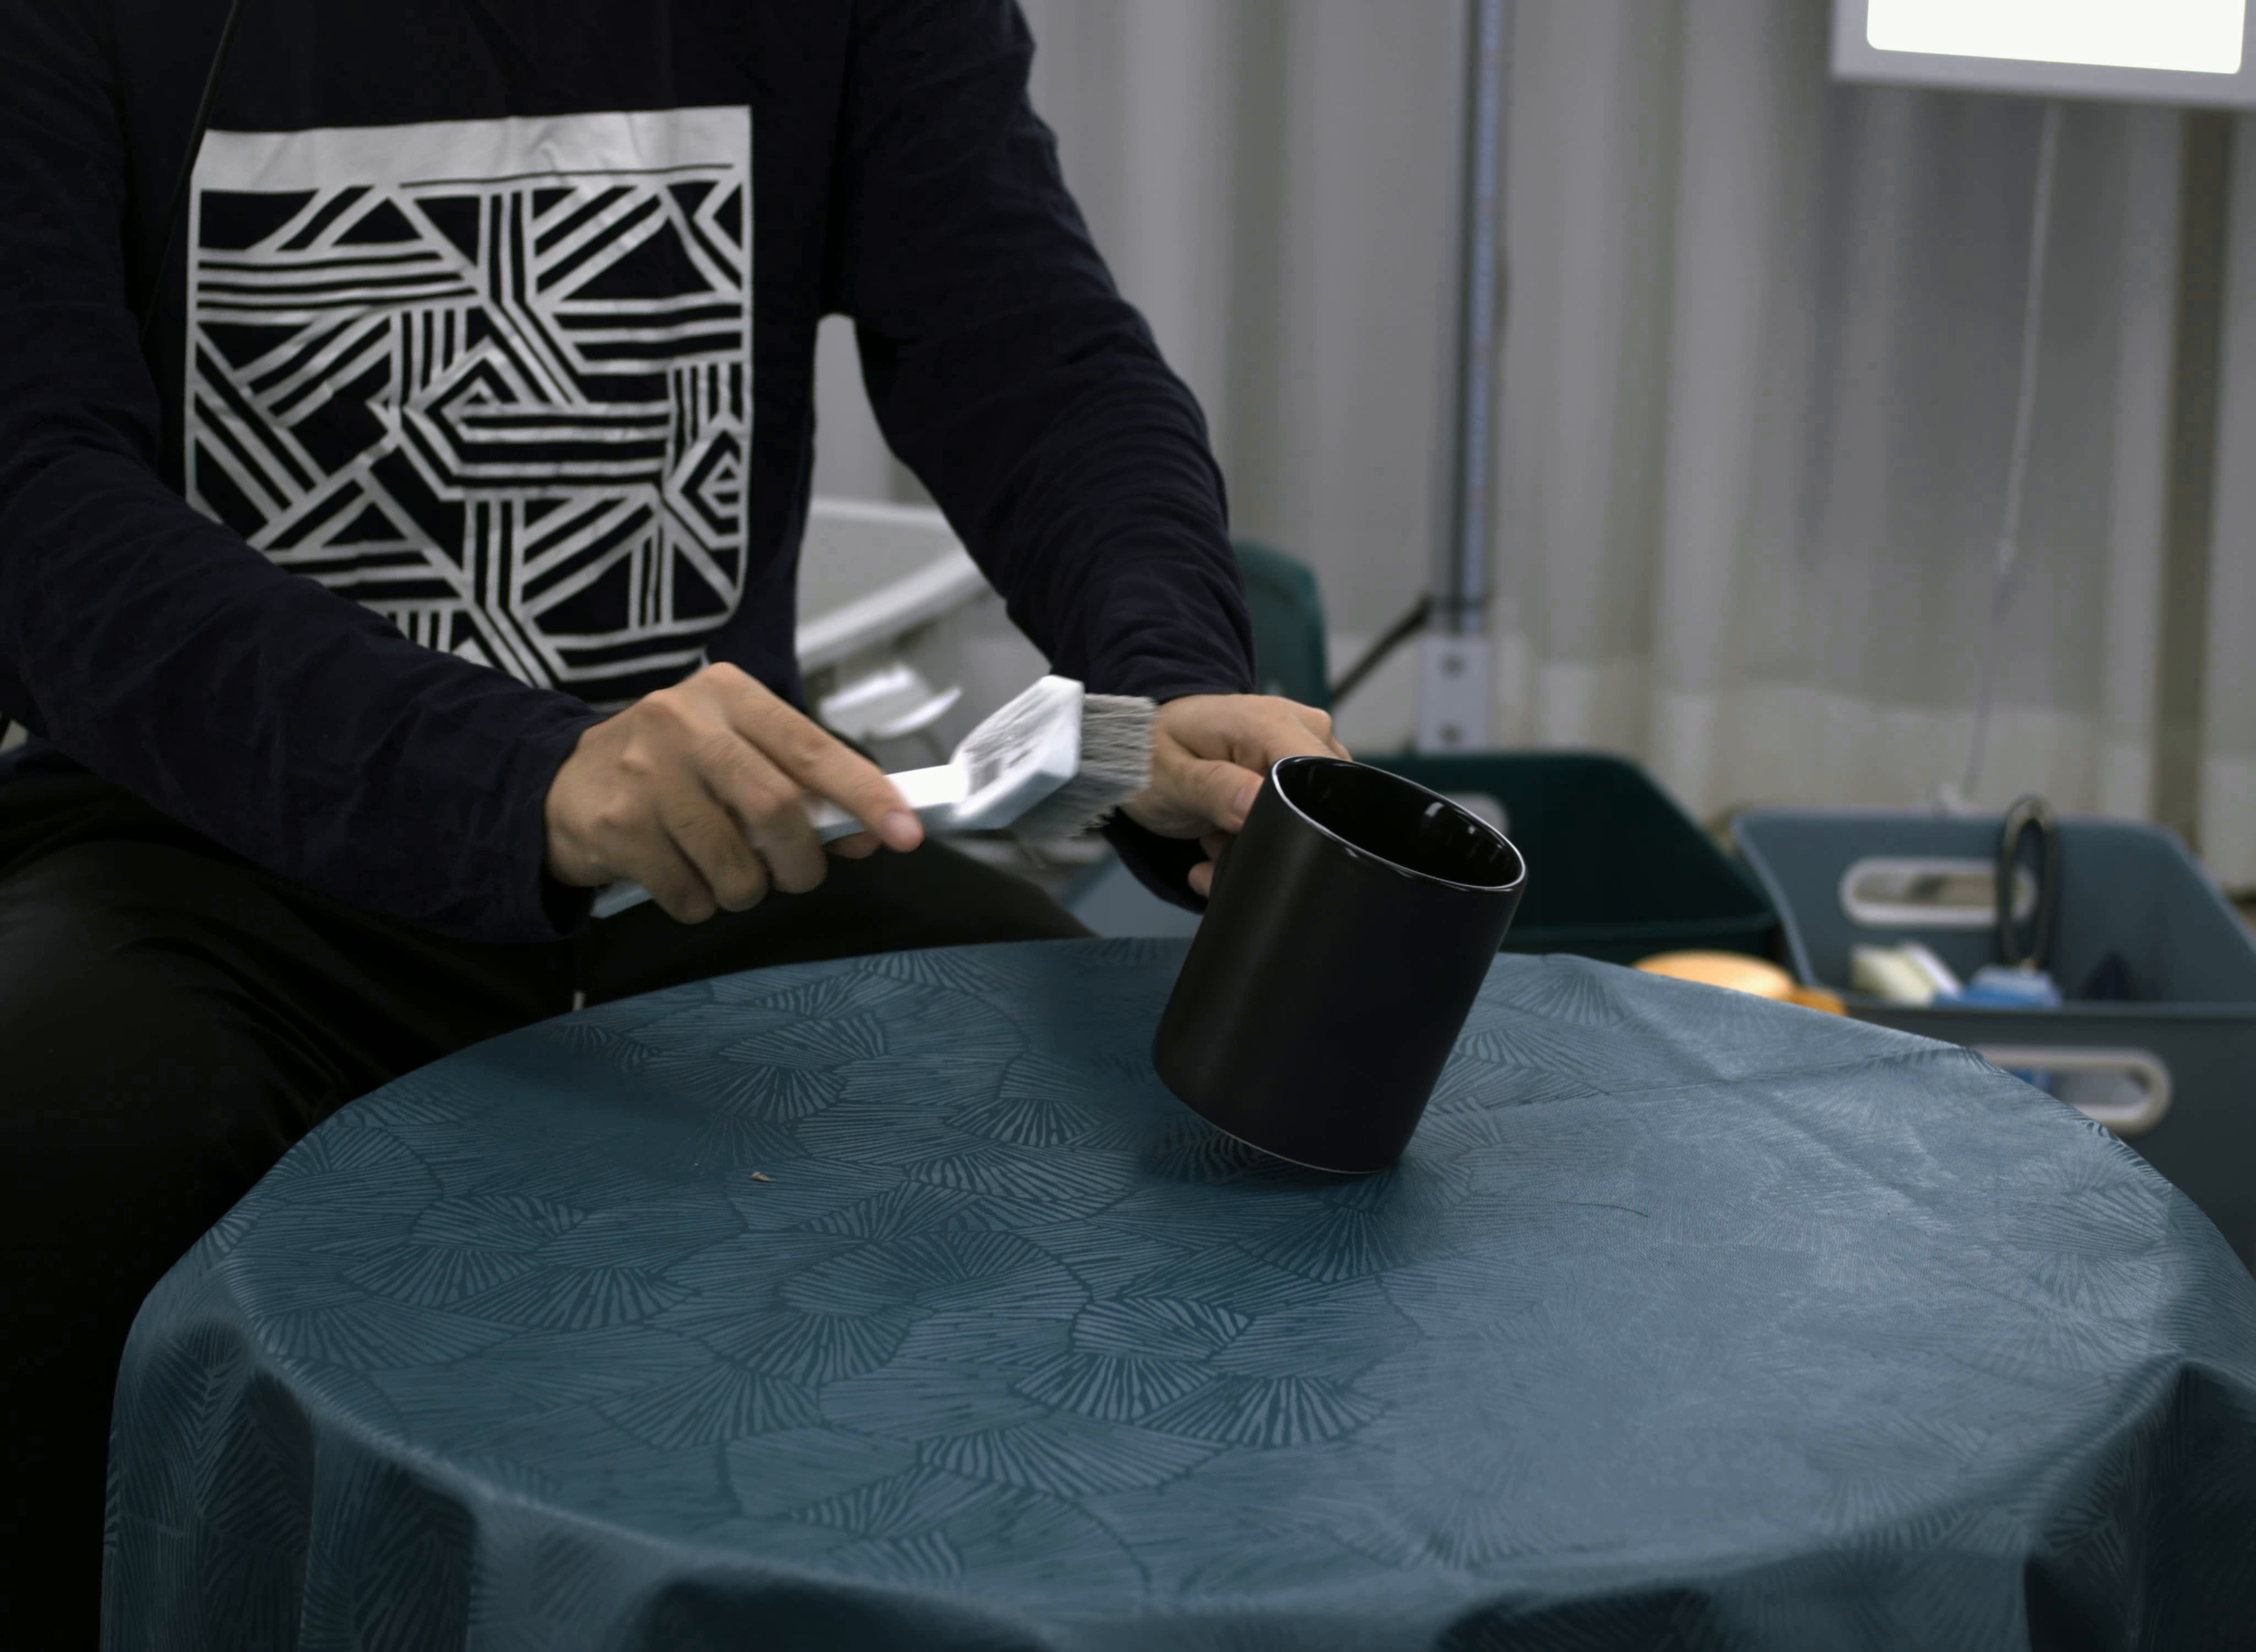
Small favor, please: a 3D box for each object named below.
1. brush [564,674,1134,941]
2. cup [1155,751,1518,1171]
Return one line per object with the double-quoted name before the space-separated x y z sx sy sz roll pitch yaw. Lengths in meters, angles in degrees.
"brush" -0.088 0.001 1.666 0.051 0.034 0.242 17 -27 -42
"cup" 0.059 0.034 1.658 0.089 0.106 0.122 9 21 -26
